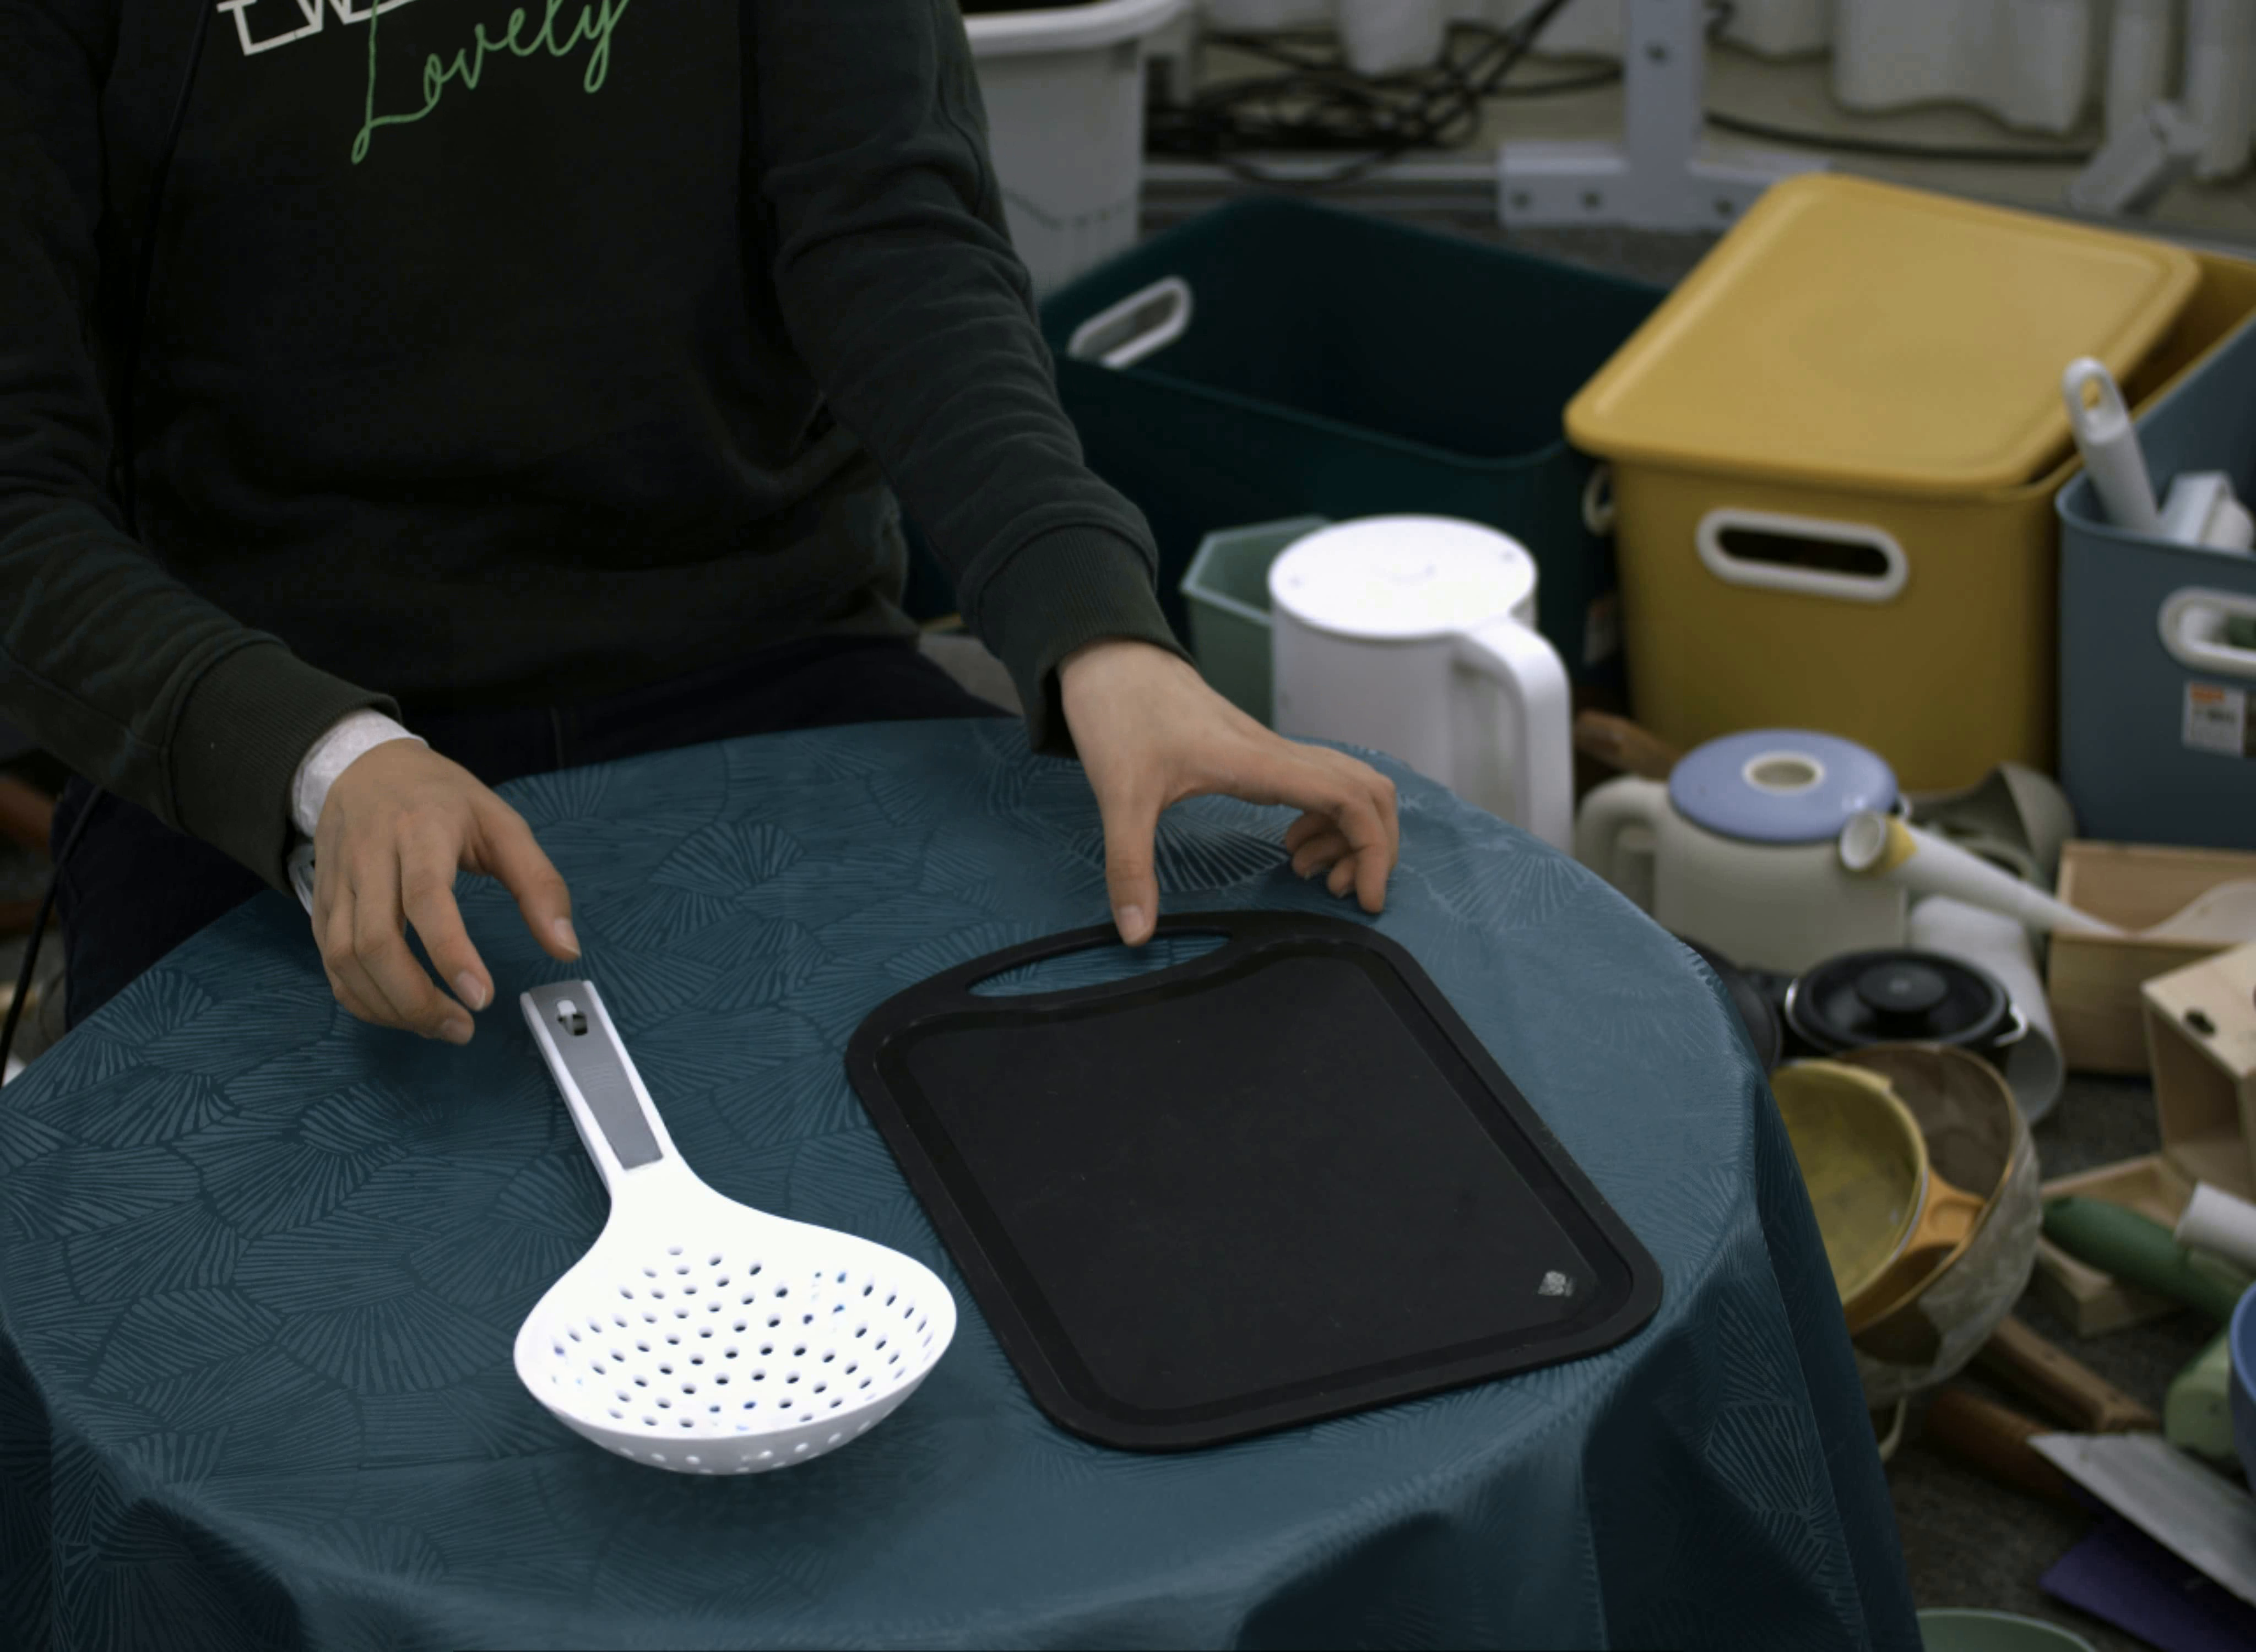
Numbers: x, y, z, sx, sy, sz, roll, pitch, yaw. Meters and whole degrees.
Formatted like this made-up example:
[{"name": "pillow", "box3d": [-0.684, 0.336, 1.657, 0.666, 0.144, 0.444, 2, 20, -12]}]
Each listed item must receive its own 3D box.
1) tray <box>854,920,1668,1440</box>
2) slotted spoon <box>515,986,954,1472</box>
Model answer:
[{"name": "tray", "box3d": [0.034, 0.108, 1.876, 0.211, 0.009, 0.328, -10, 28, -15]}, {"name": "slotted spoon", "box3d": [-0.151, 0.124, 1.822, 0.136, 0.045, 0.353, -8, 27, -14]}]
